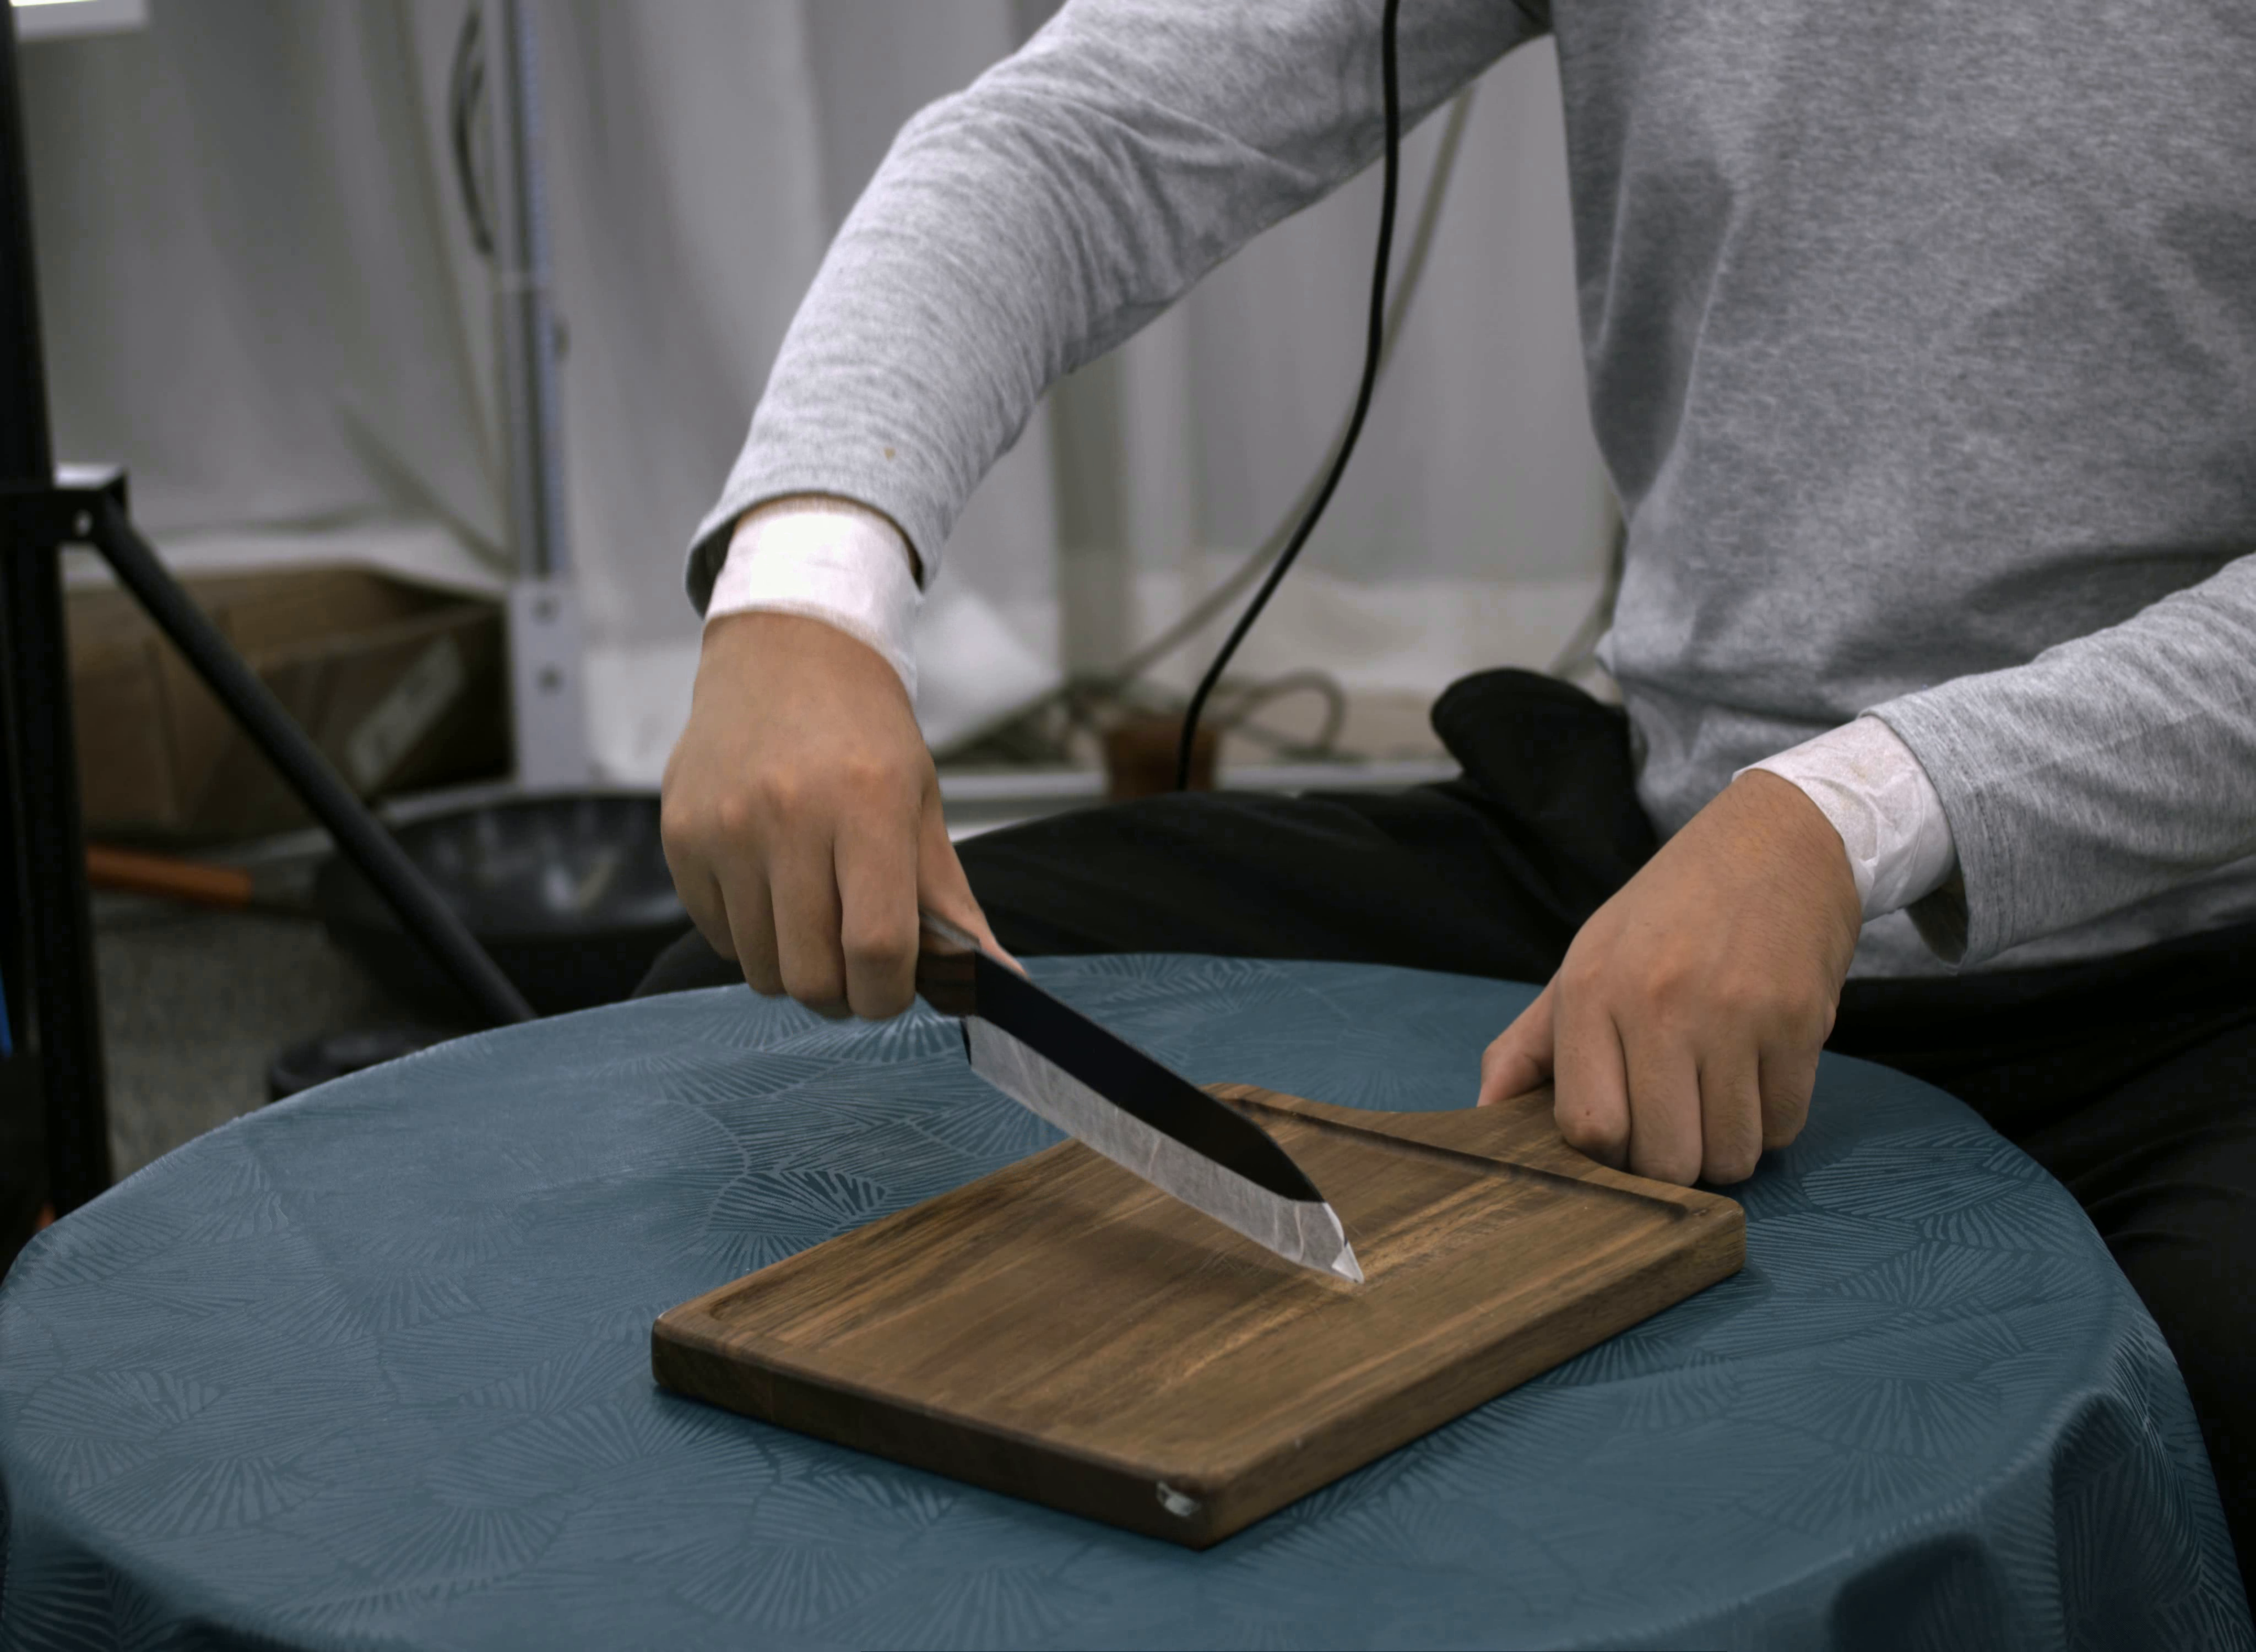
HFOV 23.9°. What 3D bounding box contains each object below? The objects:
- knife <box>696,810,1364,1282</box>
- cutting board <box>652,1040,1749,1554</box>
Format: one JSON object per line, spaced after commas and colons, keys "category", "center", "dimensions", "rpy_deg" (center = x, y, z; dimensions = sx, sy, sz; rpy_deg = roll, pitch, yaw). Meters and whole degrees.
{"category": "knife", "center": [-0.031, 0.060, 1.519], "dimensions": [0.019, 0.050, 0.296], "rpy_deg": [-25, 39, -32]}
{"category": "cutting board", "center": [0.055, 0.117, 1.486], "dimensions": [0.205, 0.023, 0.344], "rpy_deg": [11, 21, 39]}
